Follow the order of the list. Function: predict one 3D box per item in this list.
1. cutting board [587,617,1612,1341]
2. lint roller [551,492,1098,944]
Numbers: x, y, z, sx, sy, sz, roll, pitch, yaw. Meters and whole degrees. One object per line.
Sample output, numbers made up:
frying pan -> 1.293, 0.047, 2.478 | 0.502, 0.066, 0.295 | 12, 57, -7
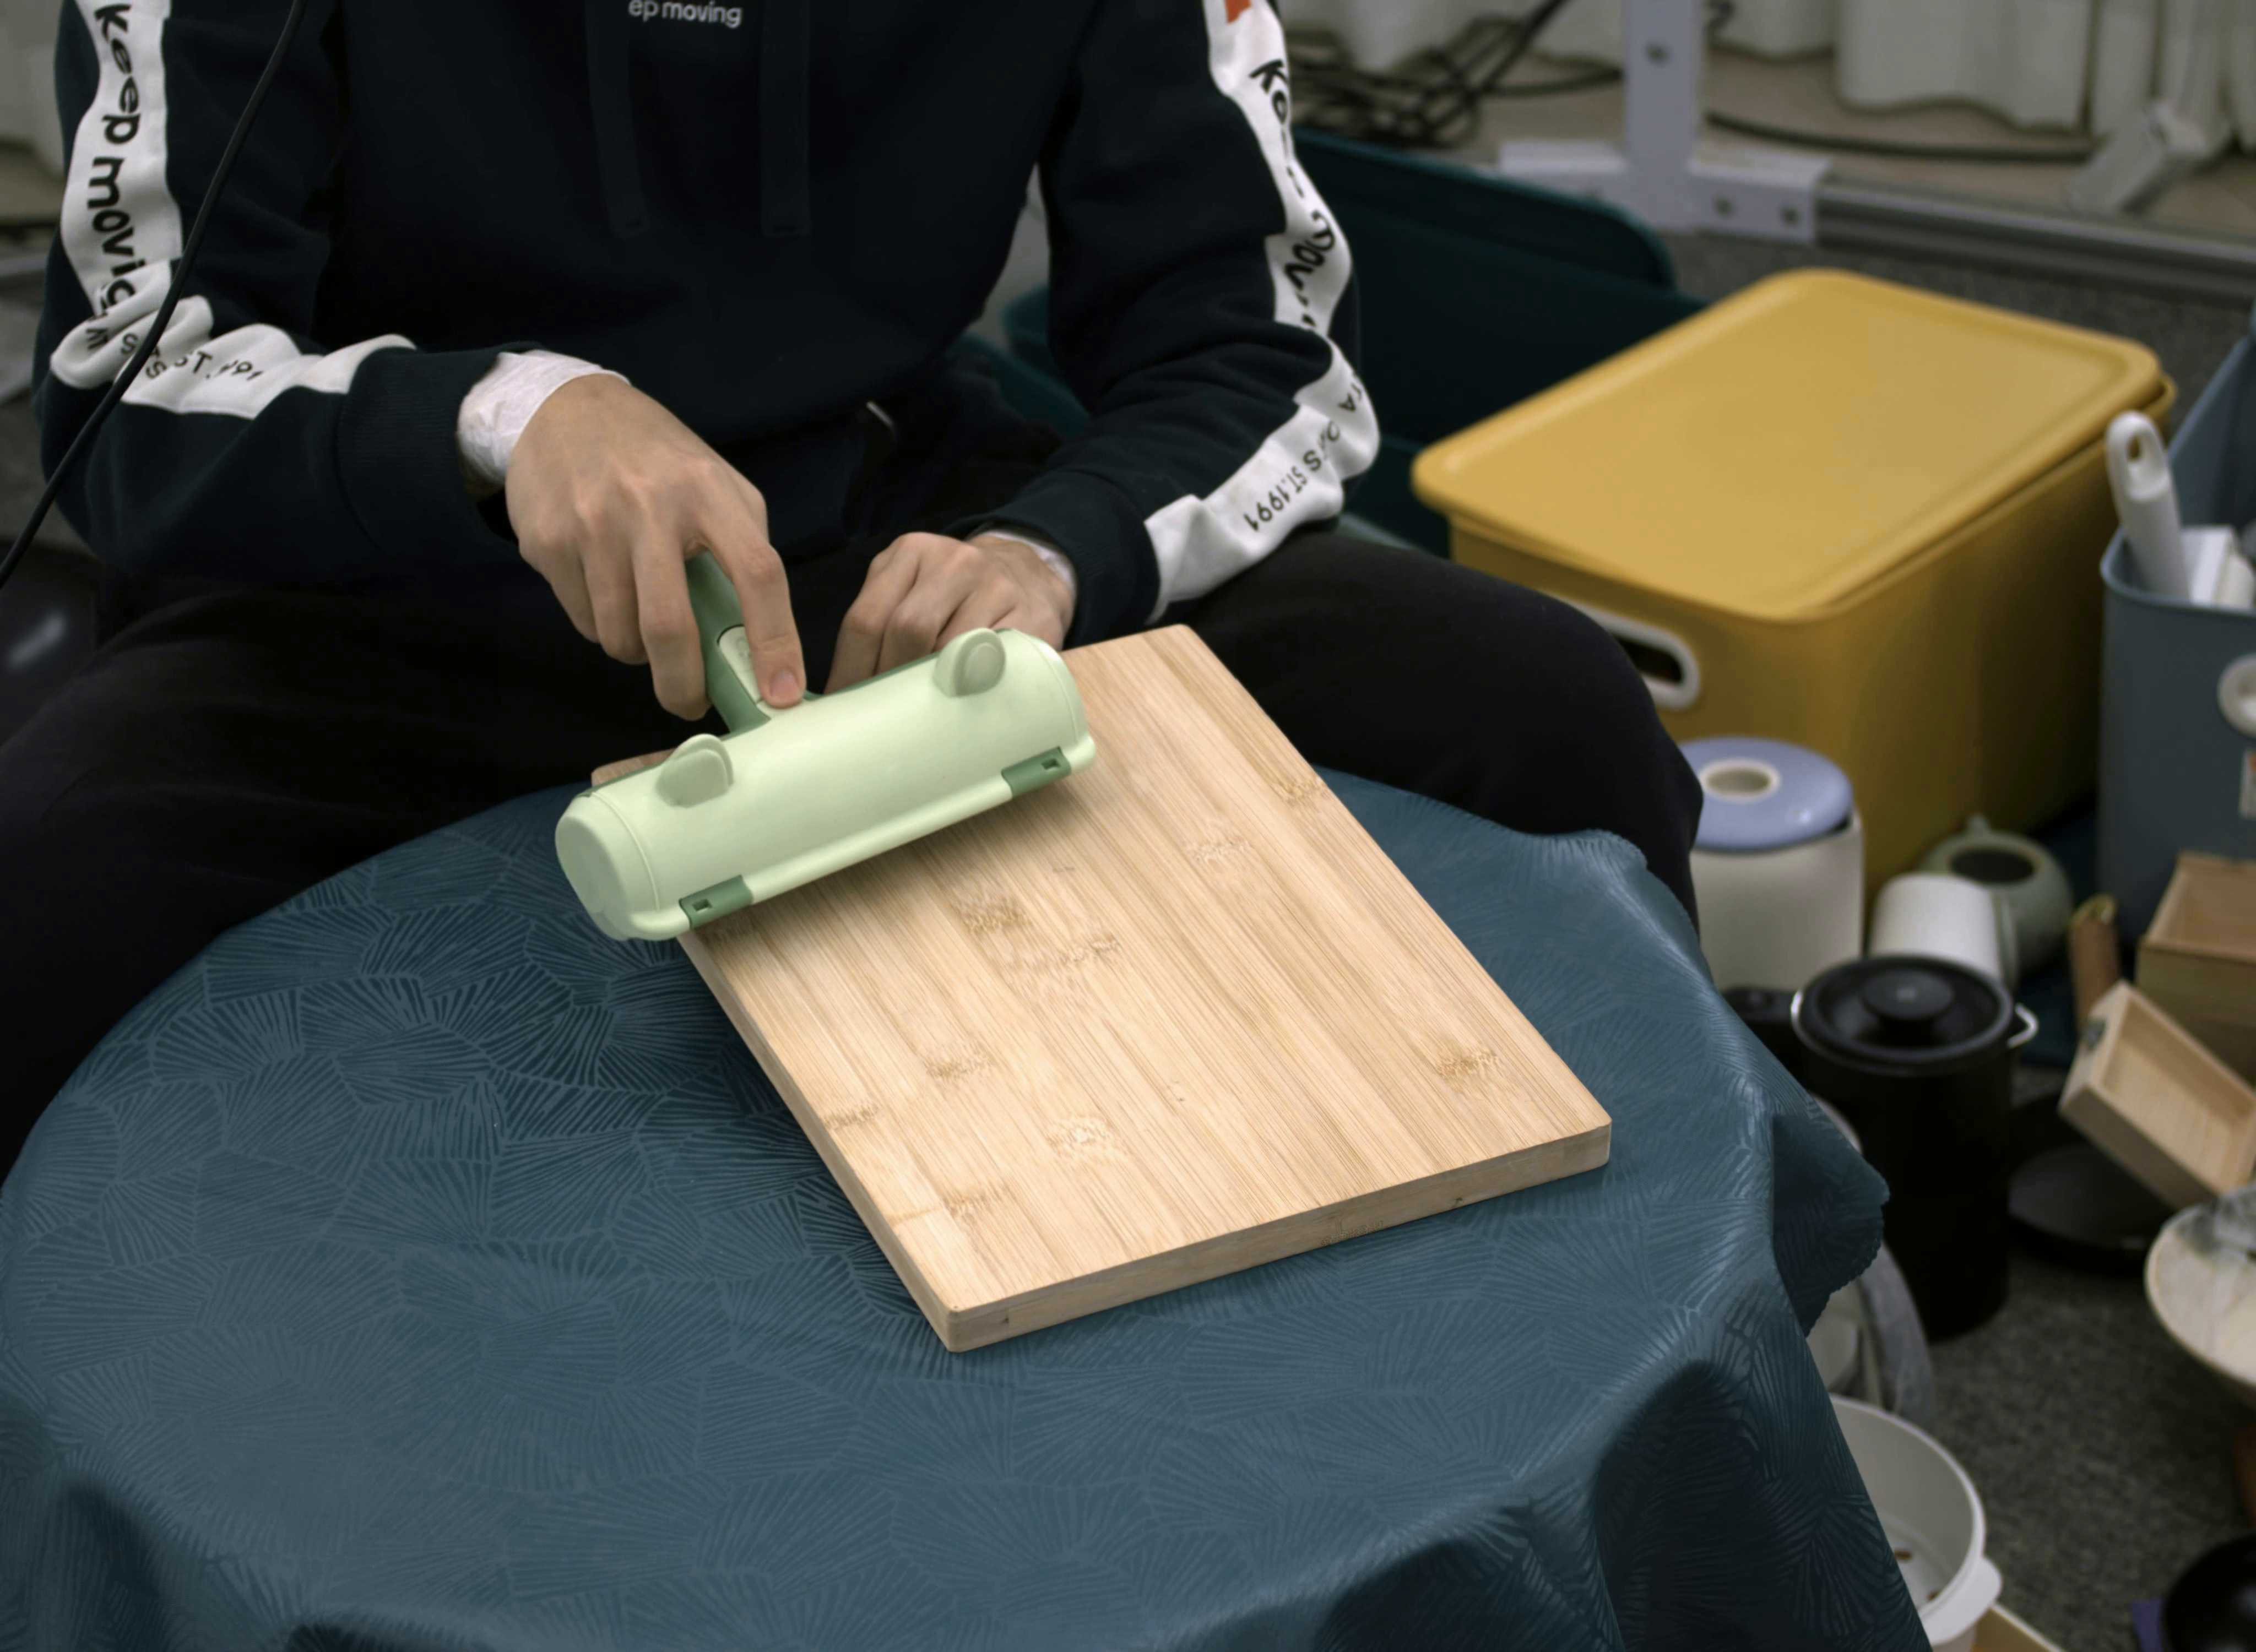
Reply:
cutting board -> -0.018, 0.045, 1.949 | 0.252, 0.023, 0.352 | -14, 36, -21
lint roller -> -0.132, -0.062, 1.983 | 0.200, 0.081, 0.185 | -22, 67, -29
